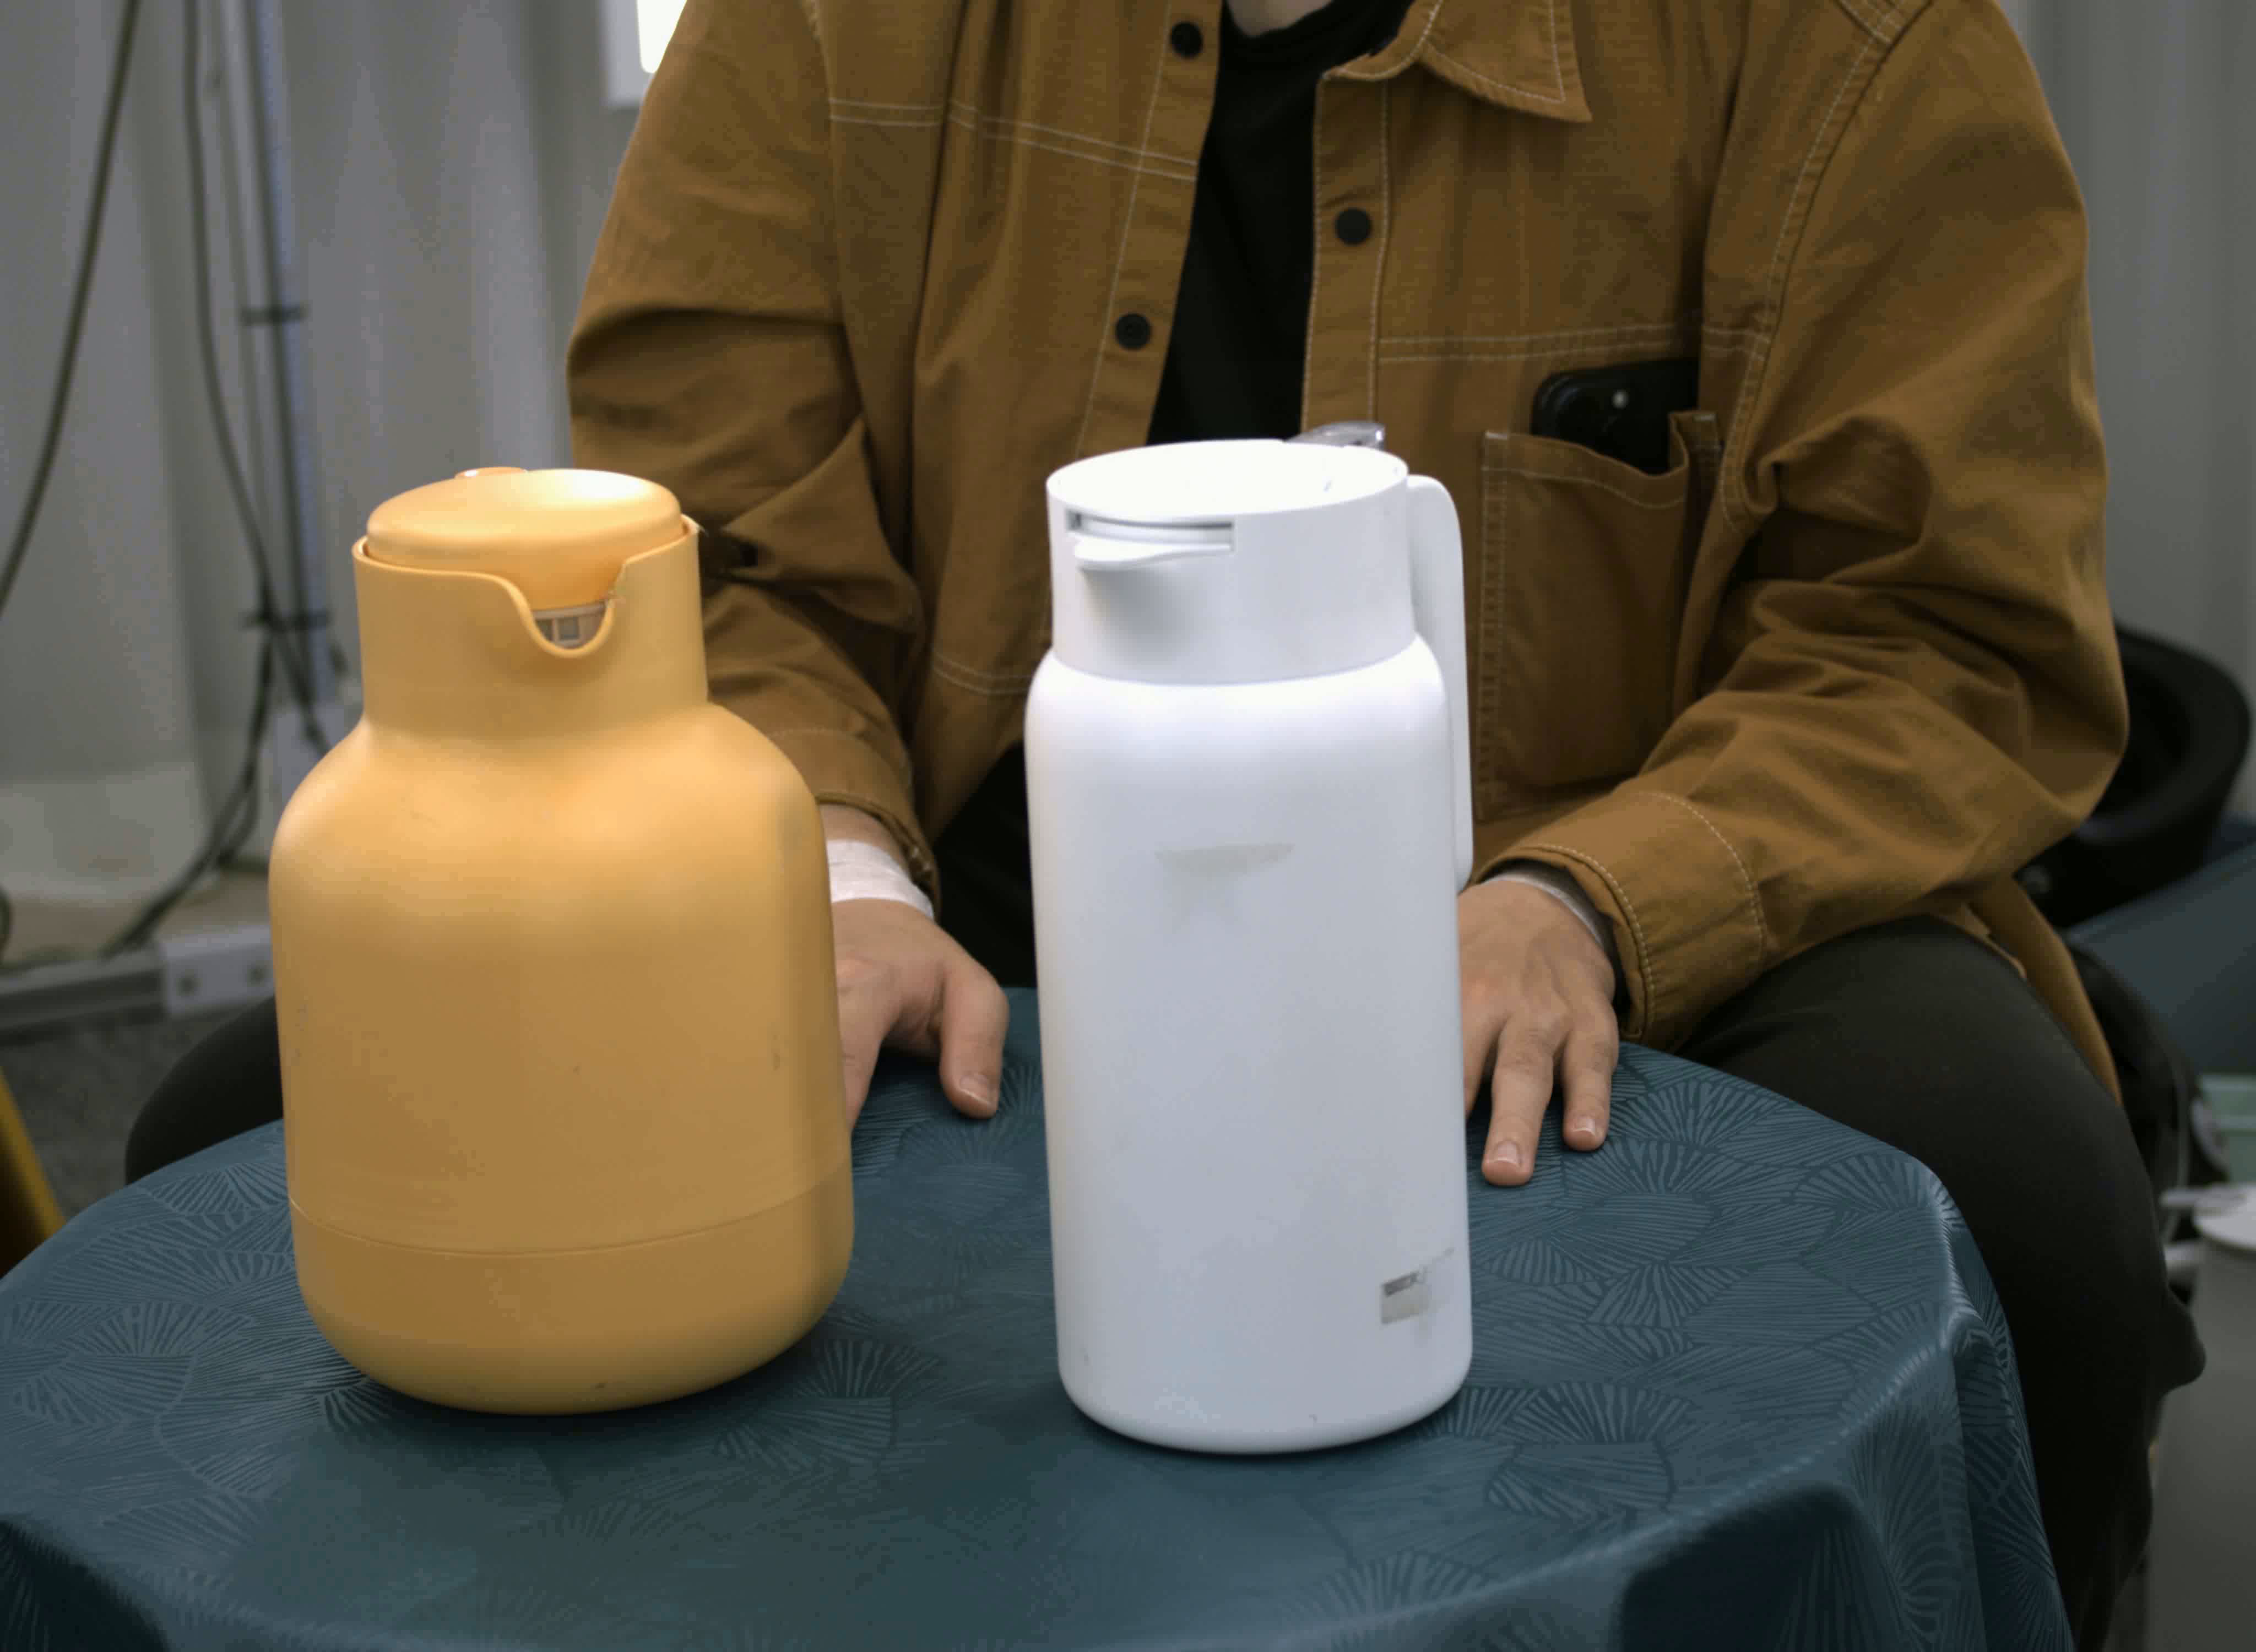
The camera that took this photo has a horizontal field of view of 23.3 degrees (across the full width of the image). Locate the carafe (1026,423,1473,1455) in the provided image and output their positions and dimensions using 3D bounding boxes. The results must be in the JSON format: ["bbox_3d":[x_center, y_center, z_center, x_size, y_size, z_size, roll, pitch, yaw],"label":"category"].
[{"bbox_3d":[0.041,0.026,1.522,0.124,0.268,0.173,4,15,32],"label":"carafe"}]

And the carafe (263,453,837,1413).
[{"bbox_3d":[-0.169,0.022,1.587,0.162,0.259,0.204,-3,15,-13],"label":"carafe"}]
